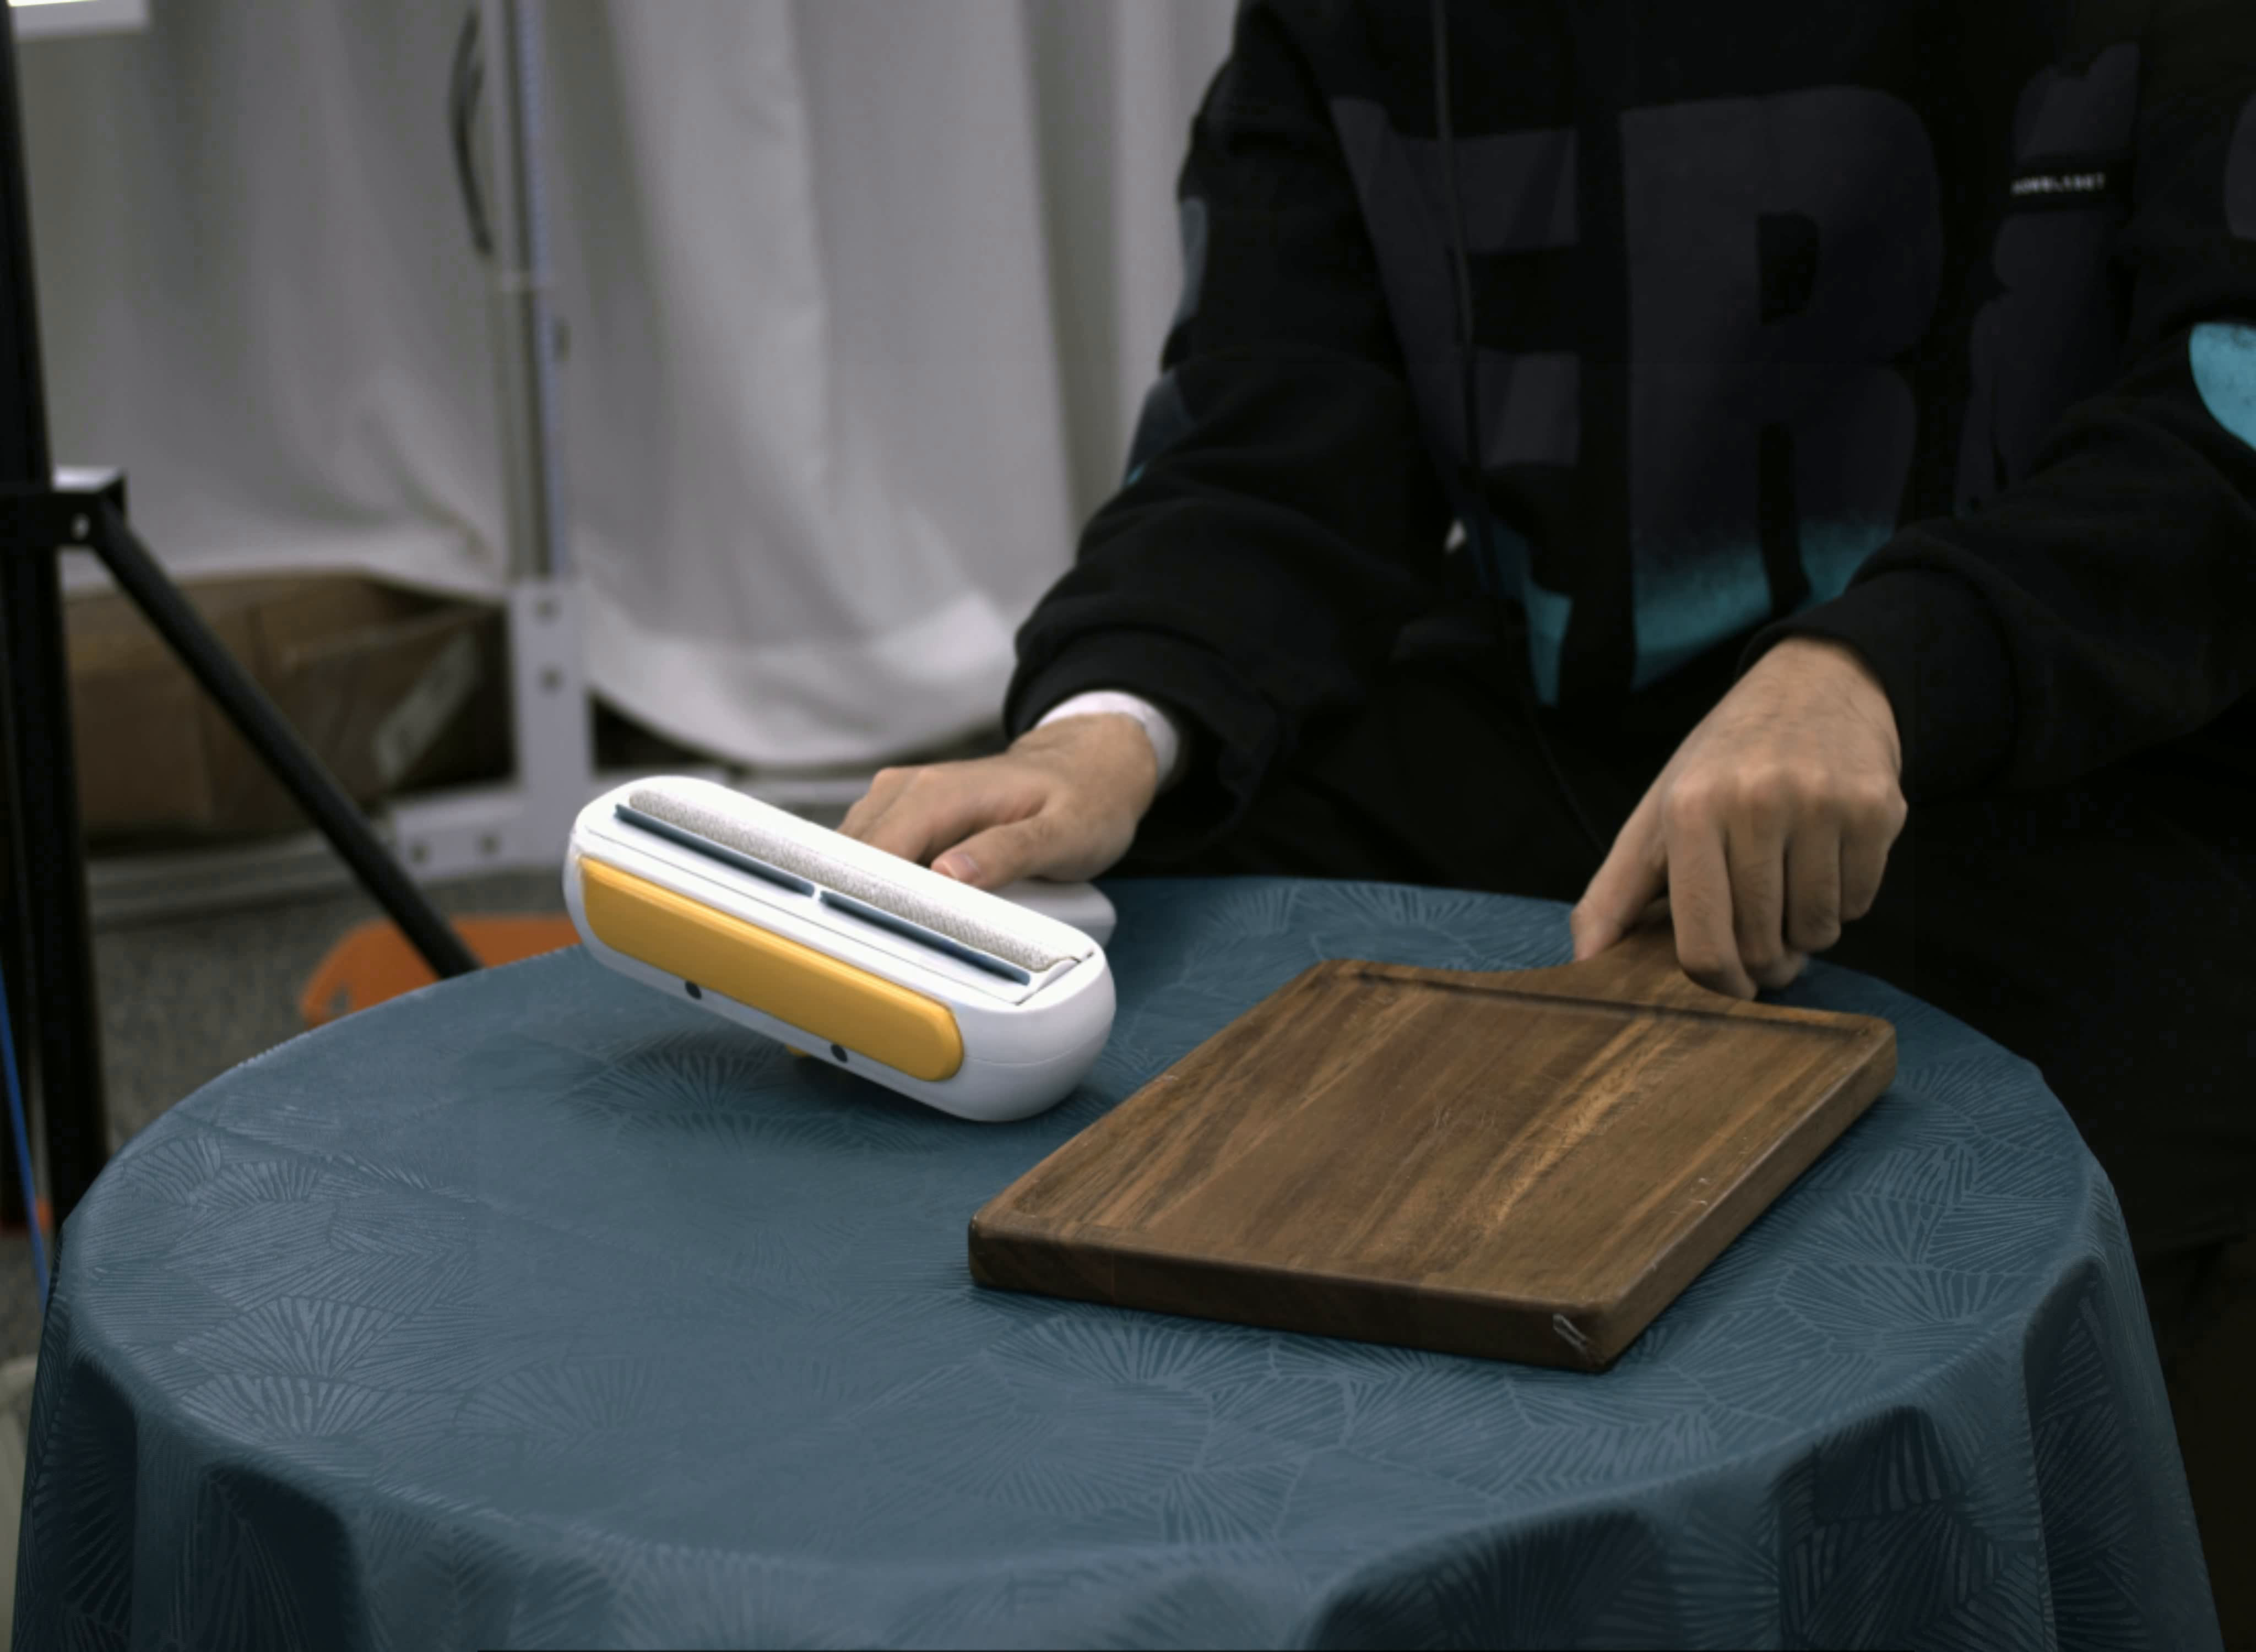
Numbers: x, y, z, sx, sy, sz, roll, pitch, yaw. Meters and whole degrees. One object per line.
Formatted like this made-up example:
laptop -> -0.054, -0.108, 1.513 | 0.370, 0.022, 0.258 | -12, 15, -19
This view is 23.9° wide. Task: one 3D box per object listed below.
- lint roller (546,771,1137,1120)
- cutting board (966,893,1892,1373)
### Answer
lint roller -> -0.064, 0.030, 1.719 | 0.197, 0.074, 0.188 | 18, 23, 34
cutting board -> 0.115, 0.081, 1.585 | 0.204, 0.023, 0.347 | 5, 18, 26
